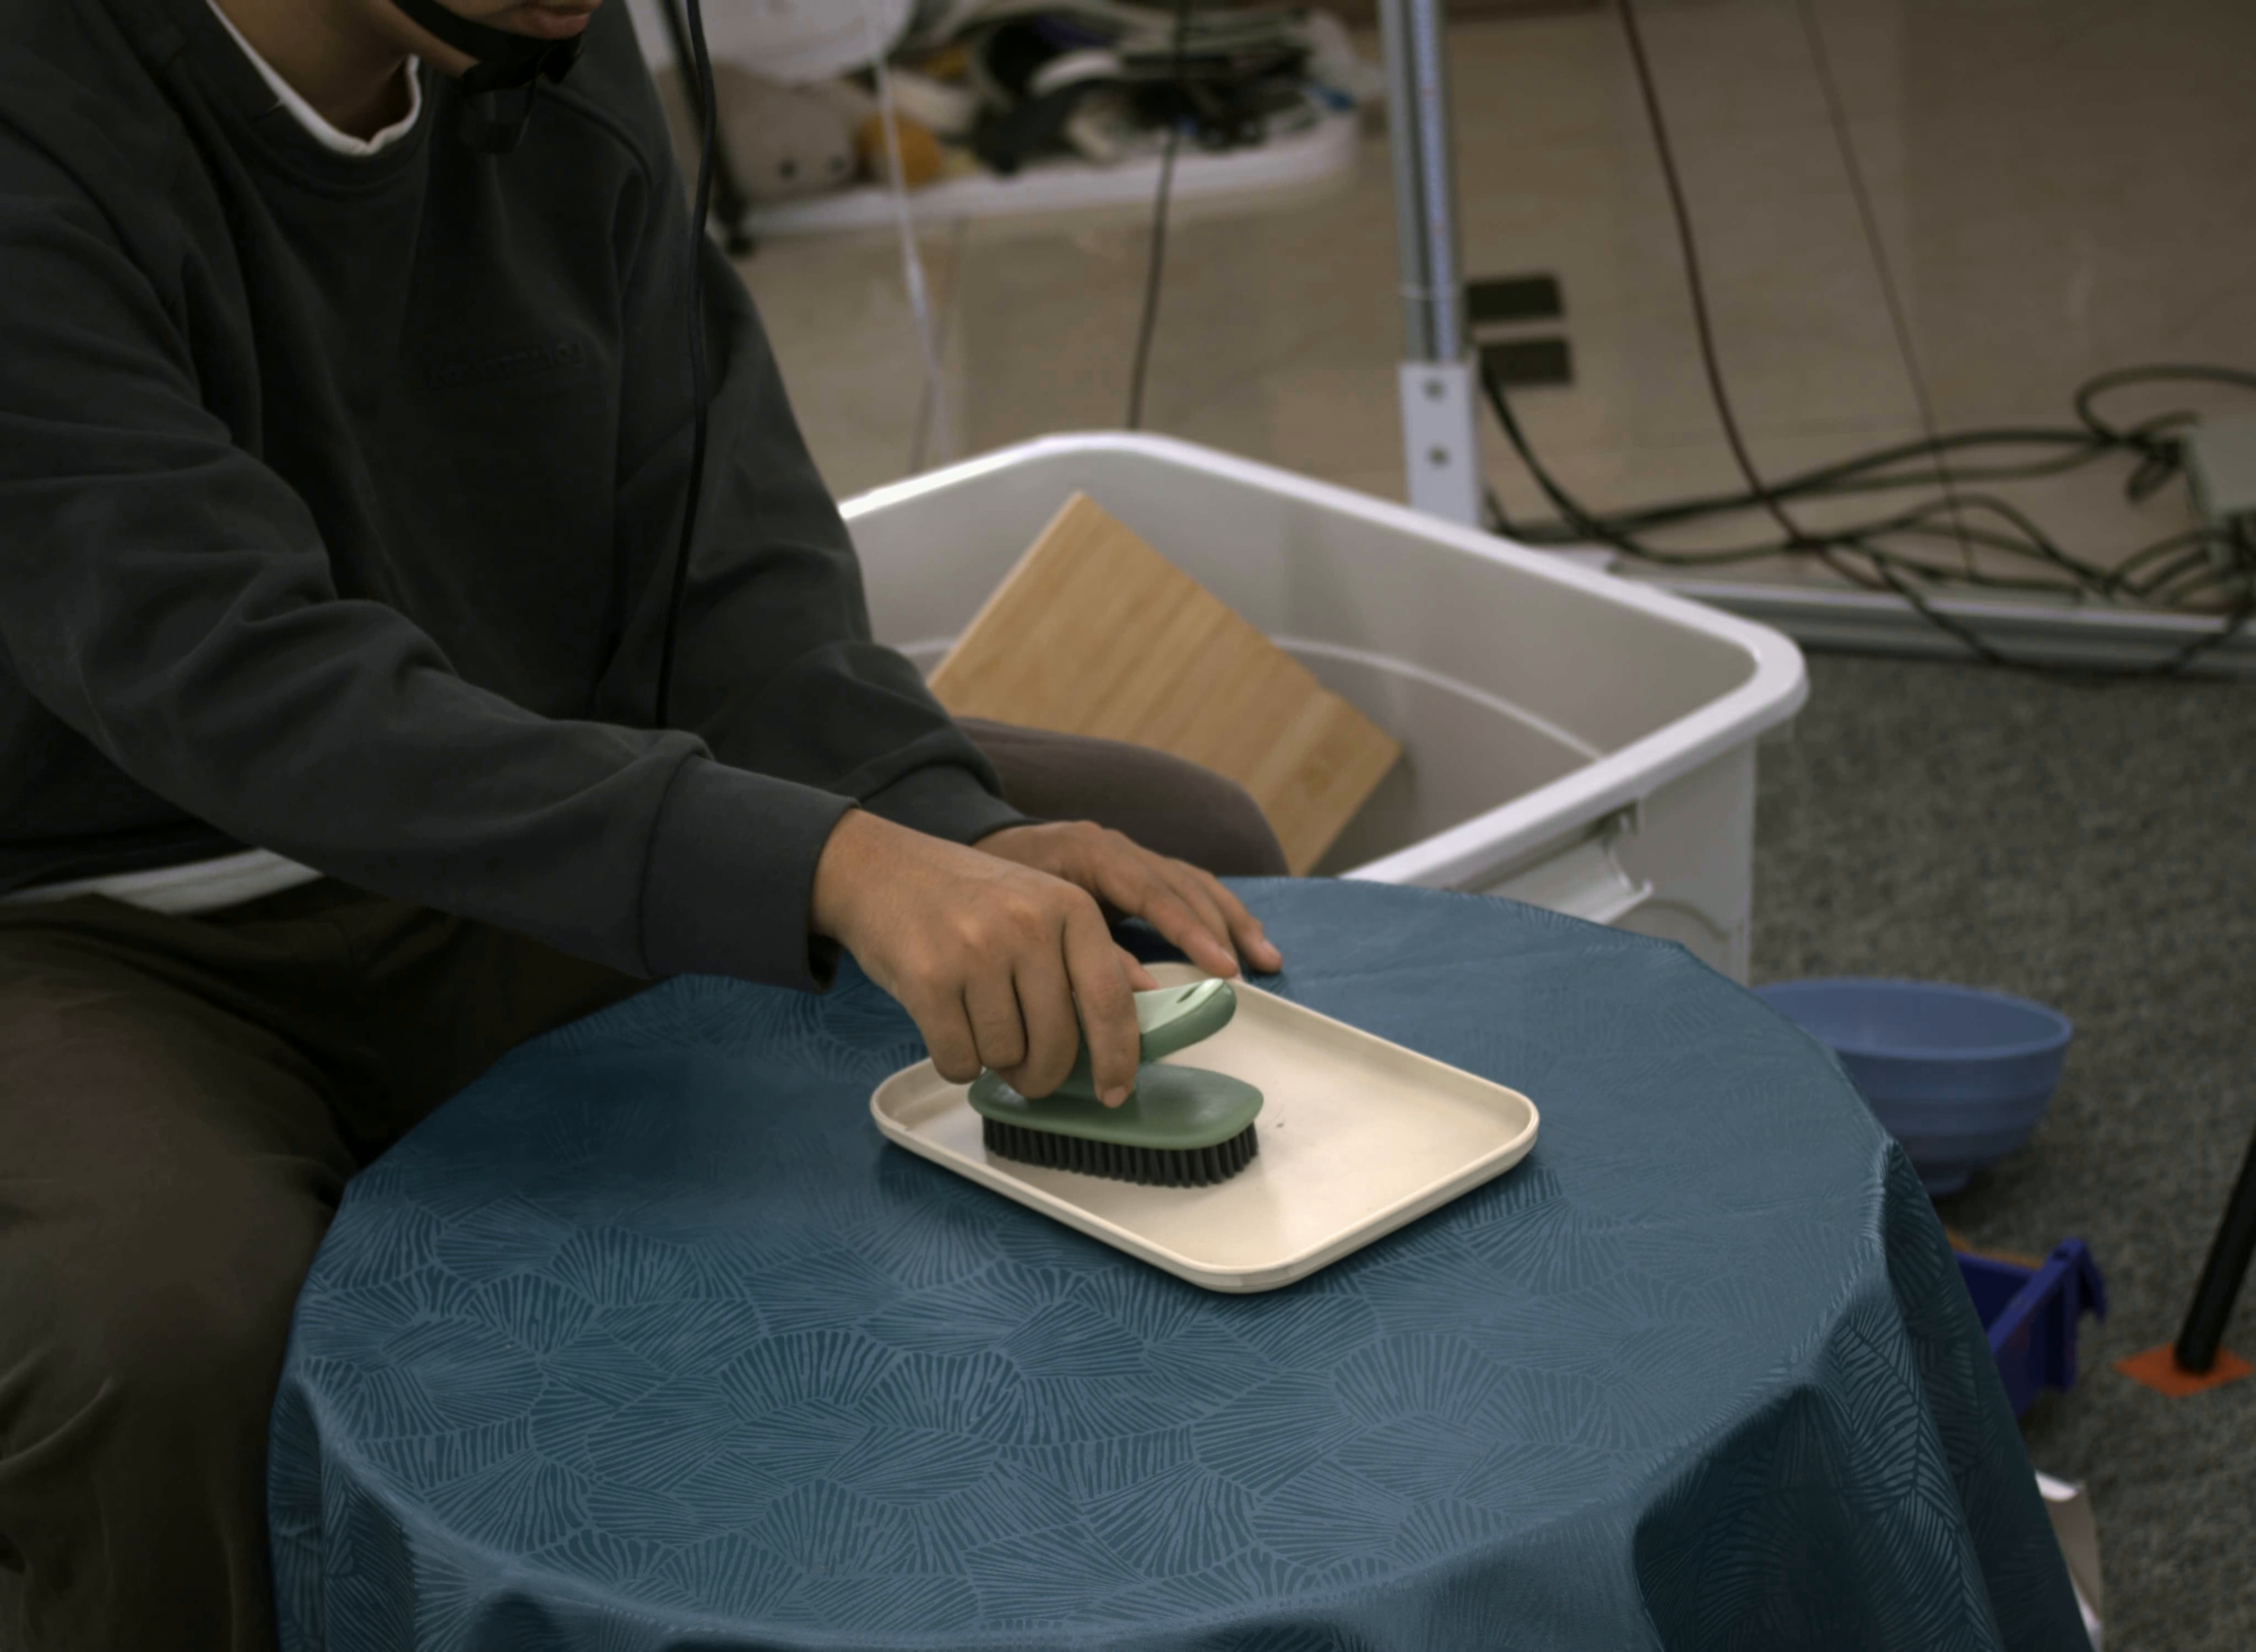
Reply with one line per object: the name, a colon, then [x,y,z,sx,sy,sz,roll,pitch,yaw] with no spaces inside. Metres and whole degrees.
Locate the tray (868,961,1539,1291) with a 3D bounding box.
tray: [0.028,0.114,2.174,0.170,0.018,0.237,-24,30,-34]

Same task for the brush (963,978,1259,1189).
brush: [-0.006,0.100,2.165,0.123,0.076,0.059,-7,20,34]
